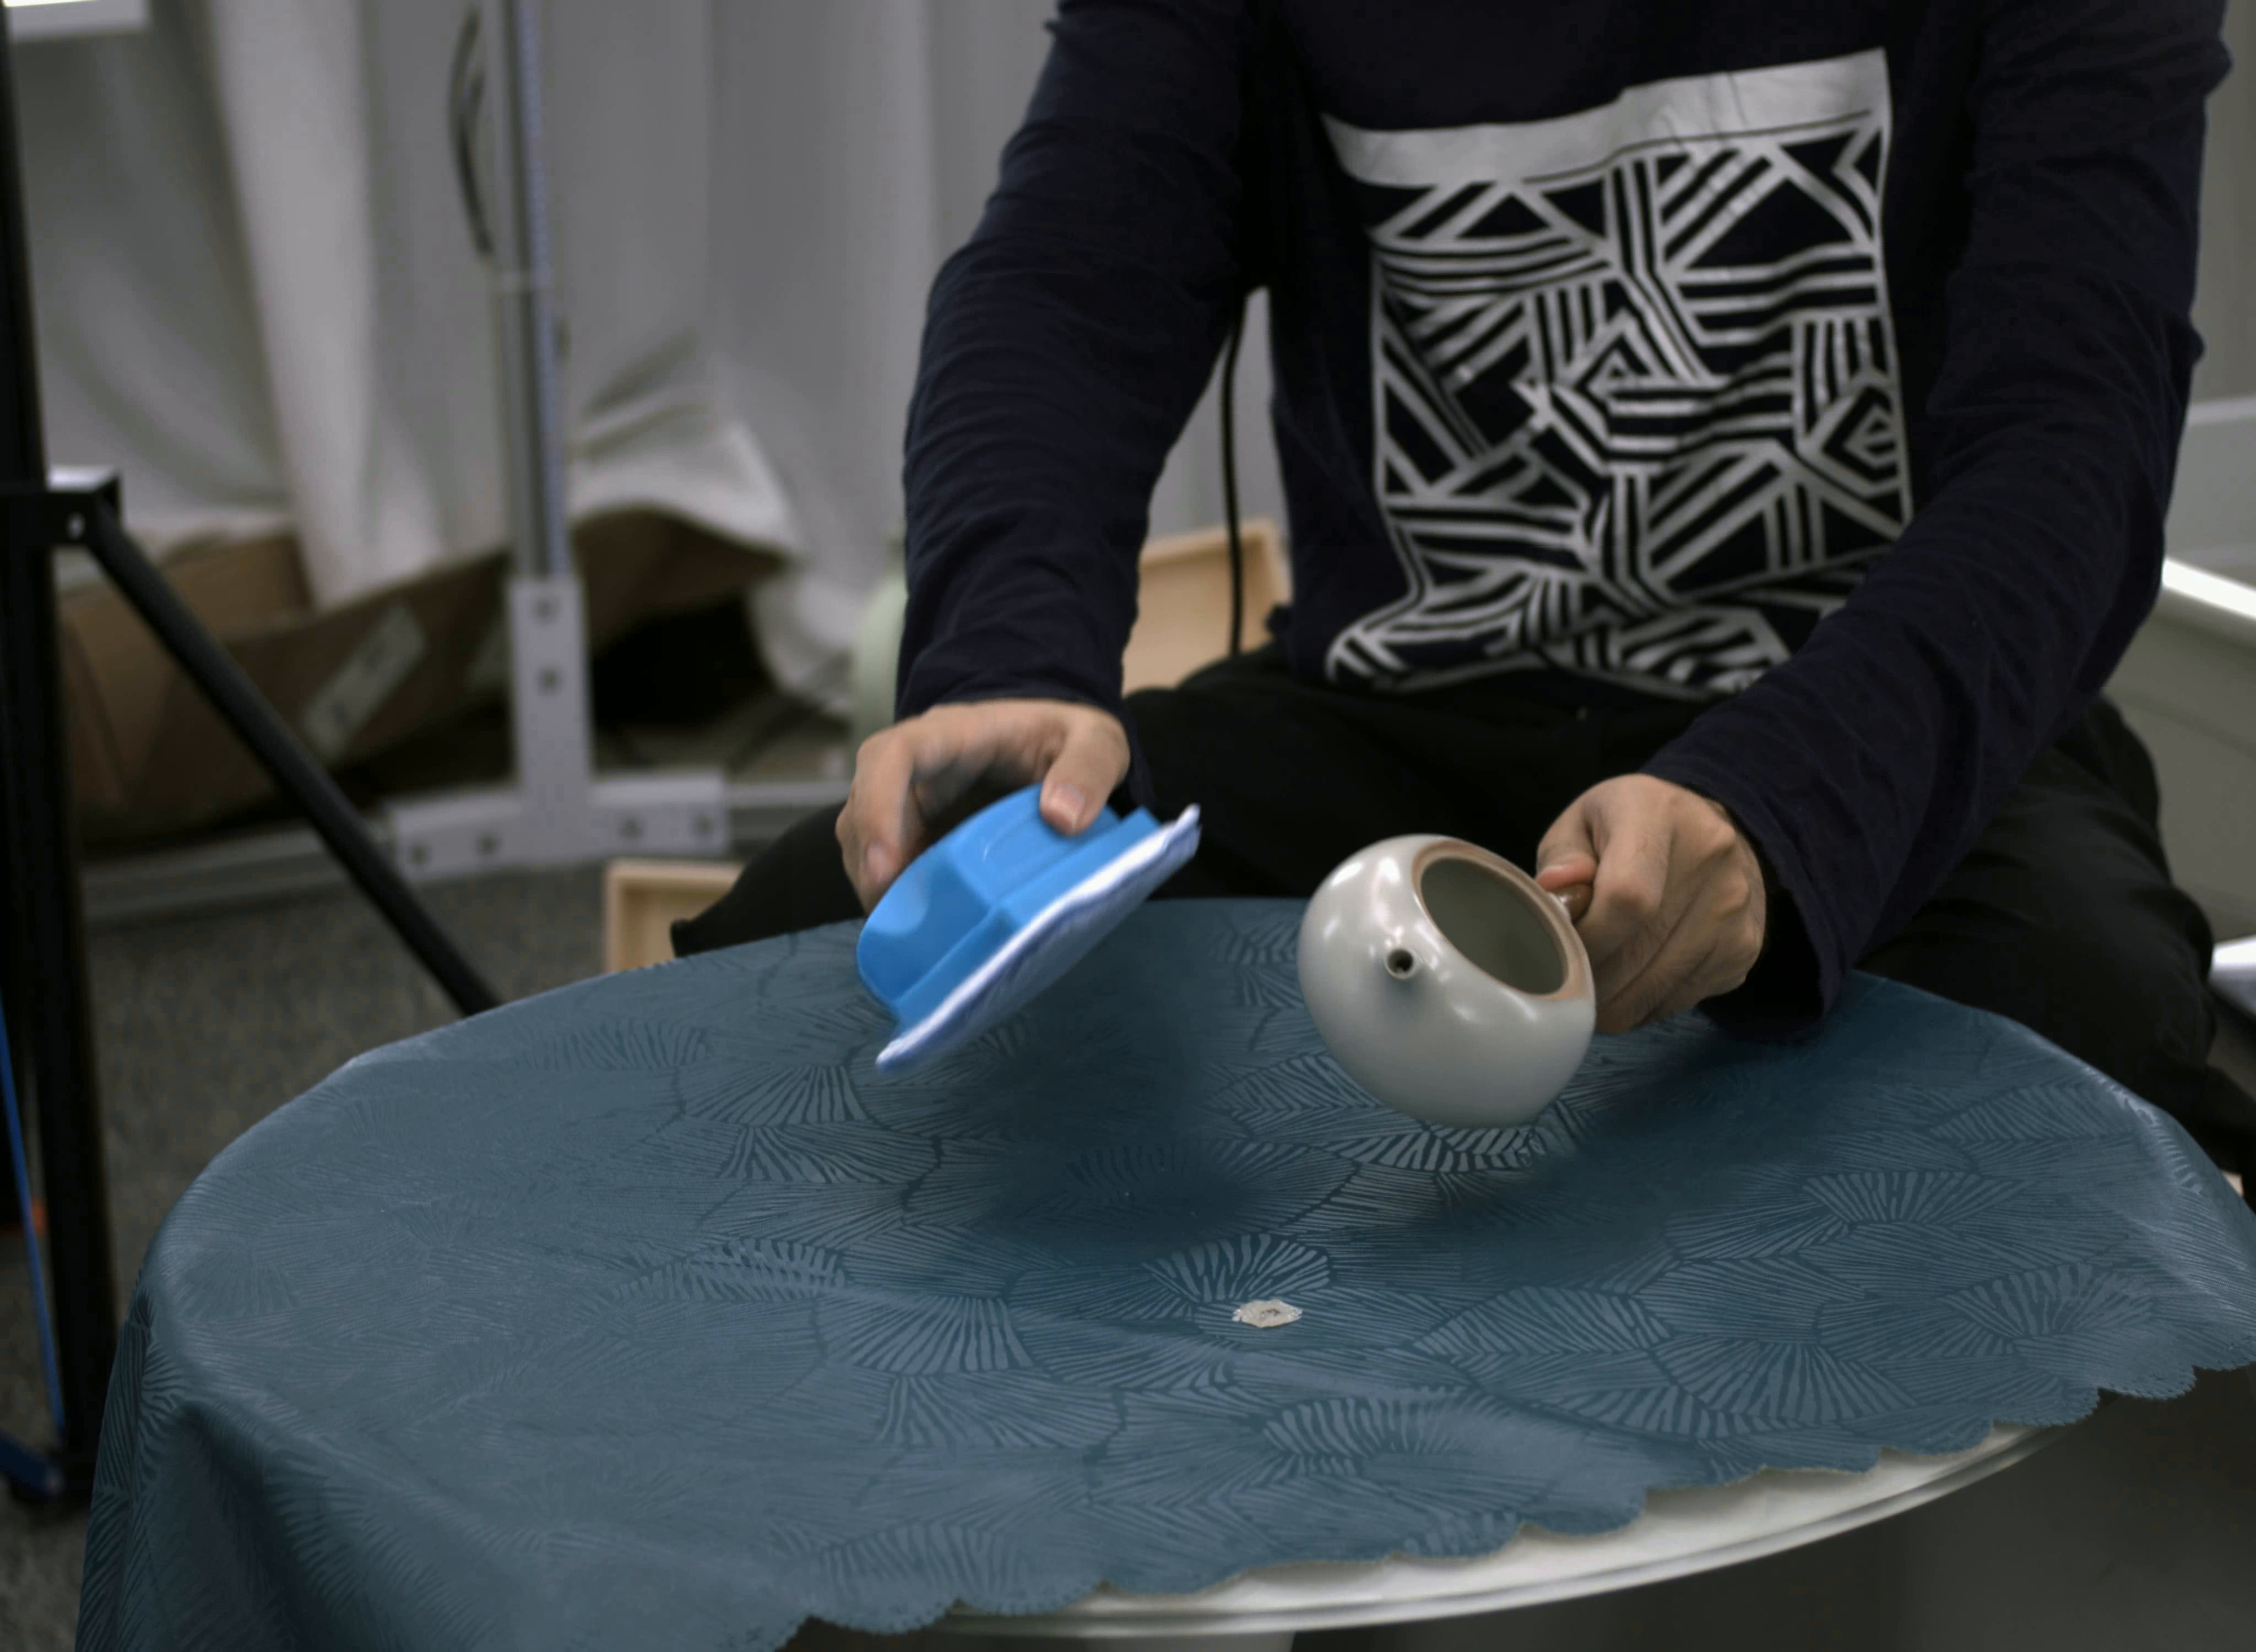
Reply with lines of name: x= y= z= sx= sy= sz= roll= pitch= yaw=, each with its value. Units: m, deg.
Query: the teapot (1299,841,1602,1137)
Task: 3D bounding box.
teapot: x=0.098 y=0.045 z=1.535 sx=0.093 sy=0.060 sz=0.125 roll=44 pitch=33 yaw=17

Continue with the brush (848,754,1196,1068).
brush: x=-0.038 y=0.021 z=1.576 sx=0.084 sy=0.056 sz=0.142 roll=-41 pitch=-2 yaw=27
